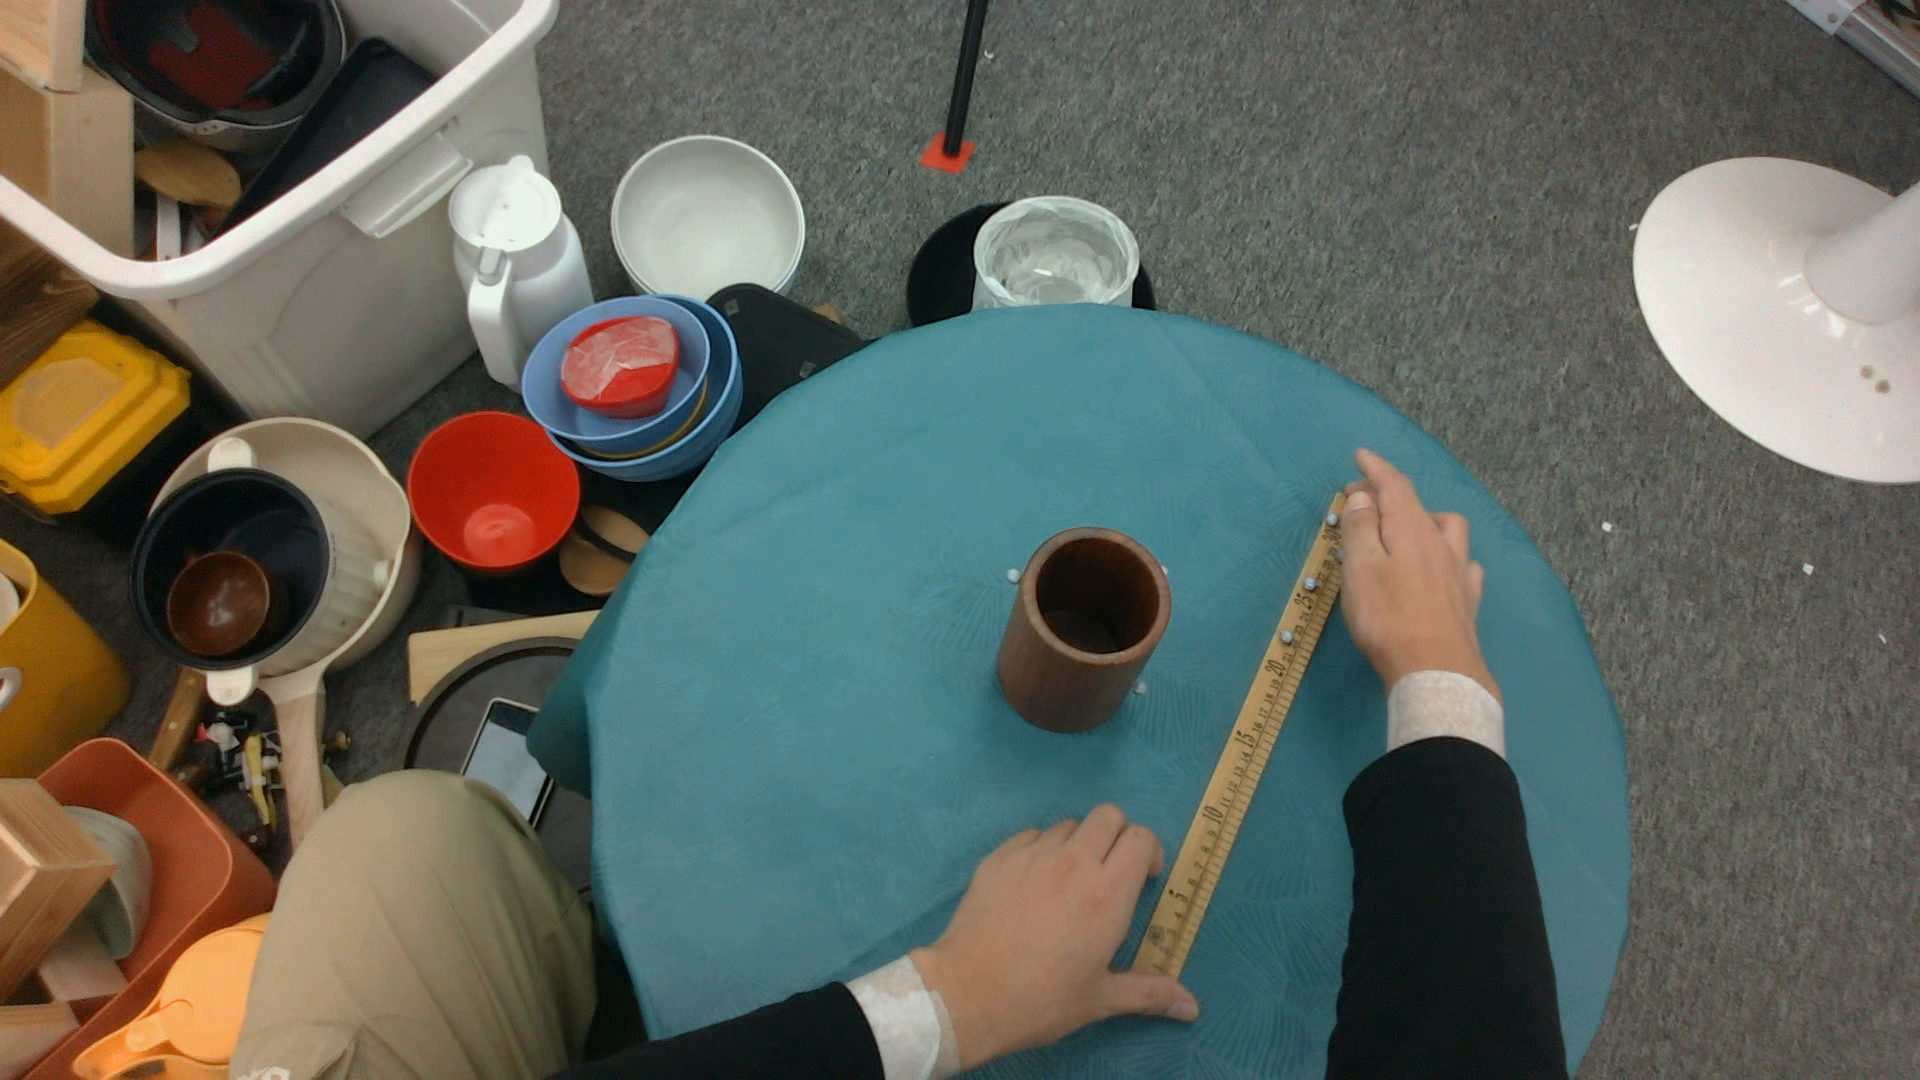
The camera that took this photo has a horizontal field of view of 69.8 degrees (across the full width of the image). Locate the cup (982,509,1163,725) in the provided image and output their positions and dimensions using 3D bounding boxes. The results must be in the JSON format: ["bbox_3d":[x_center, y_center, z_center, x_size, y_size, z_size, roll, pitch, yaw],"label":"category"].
[{"bbox_3d":[0.059,0.045,0.755,0.088,0.118,0.088,3,63,-5],"label":"cup"}]

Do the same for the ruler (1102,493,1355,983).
[{"bbox_3d":[0.164,0.101,0.800,0.027,0.022,0.333,25,63,12],"label":"ruler"}]
